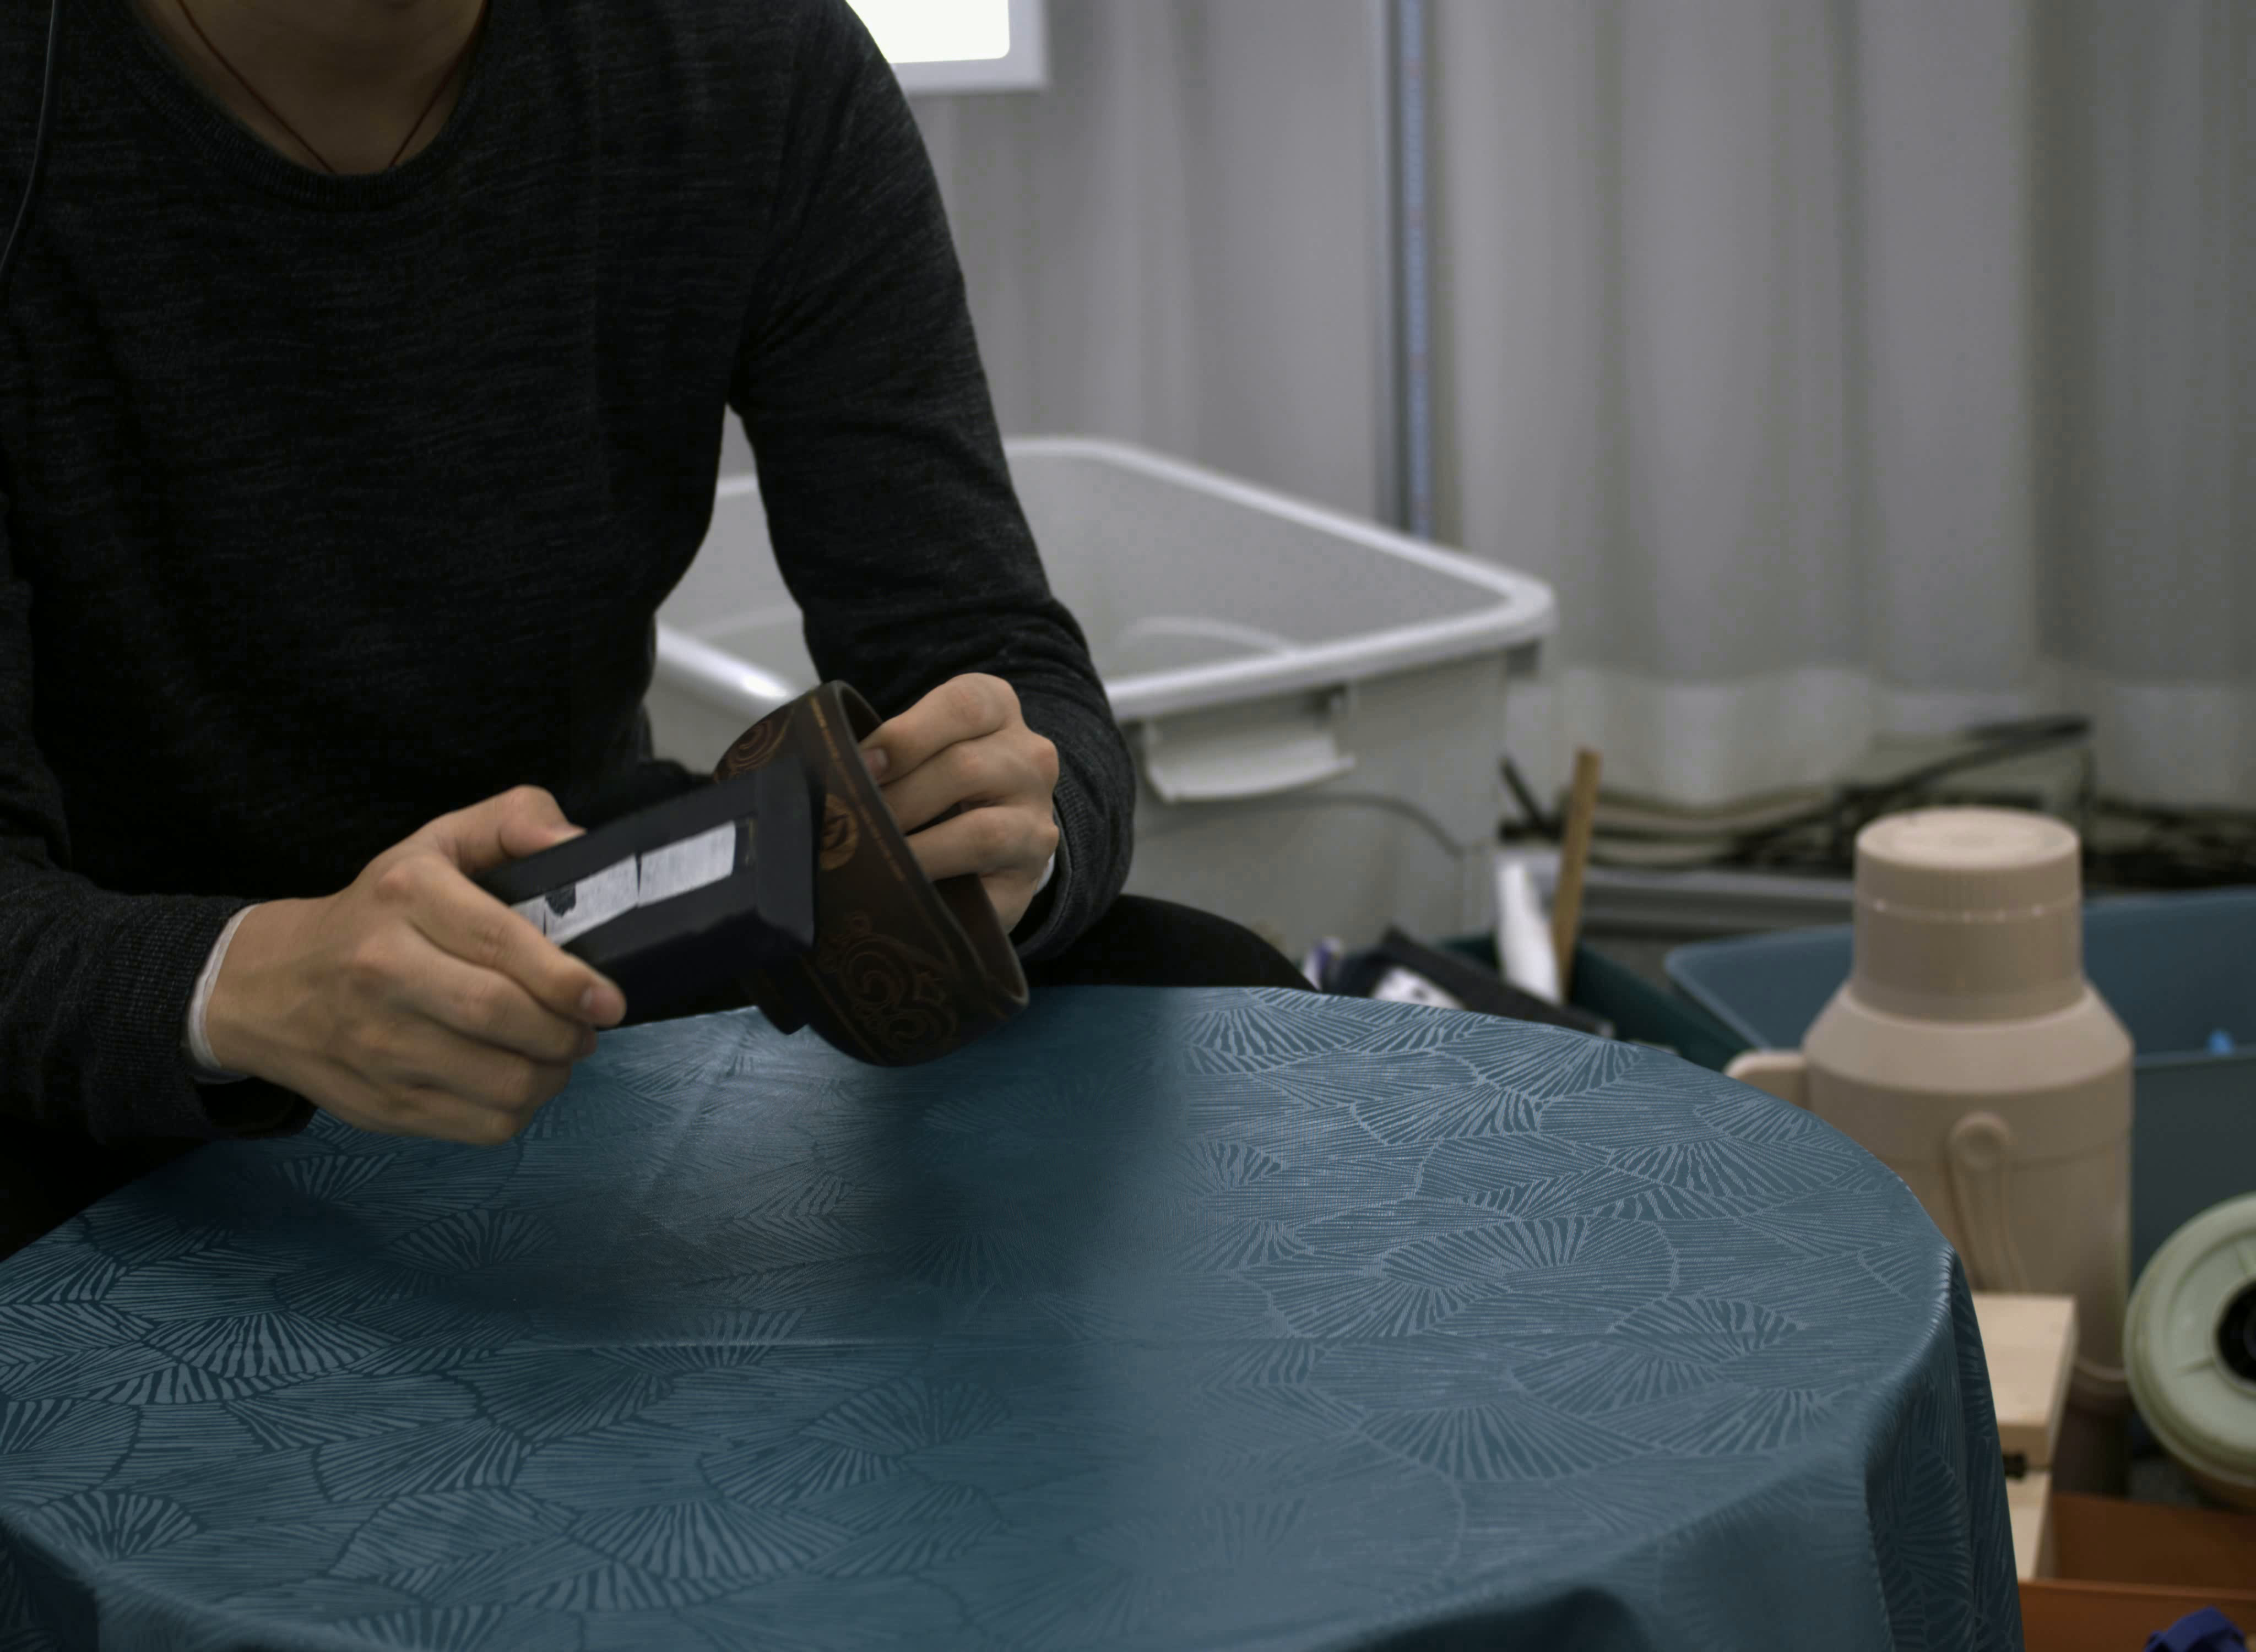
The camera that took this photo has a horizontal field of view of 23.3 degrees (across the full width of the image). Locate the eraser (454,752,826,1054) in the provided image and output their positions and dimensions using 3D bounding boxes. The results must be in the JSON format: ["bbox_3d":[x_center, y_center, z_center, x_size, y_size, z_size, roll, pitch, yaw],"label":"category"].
[{"bbox_3d":[-0.143,0.023,1.601,0.125,0.054,0.030,-22,-36,31],"label":"eraser"}]

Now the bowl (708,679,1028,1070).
[{"bbox_3d":[-0.088,0.022,1.649,0.070,0.117,0.119,-30,14,4],"label":"bowl"}]
